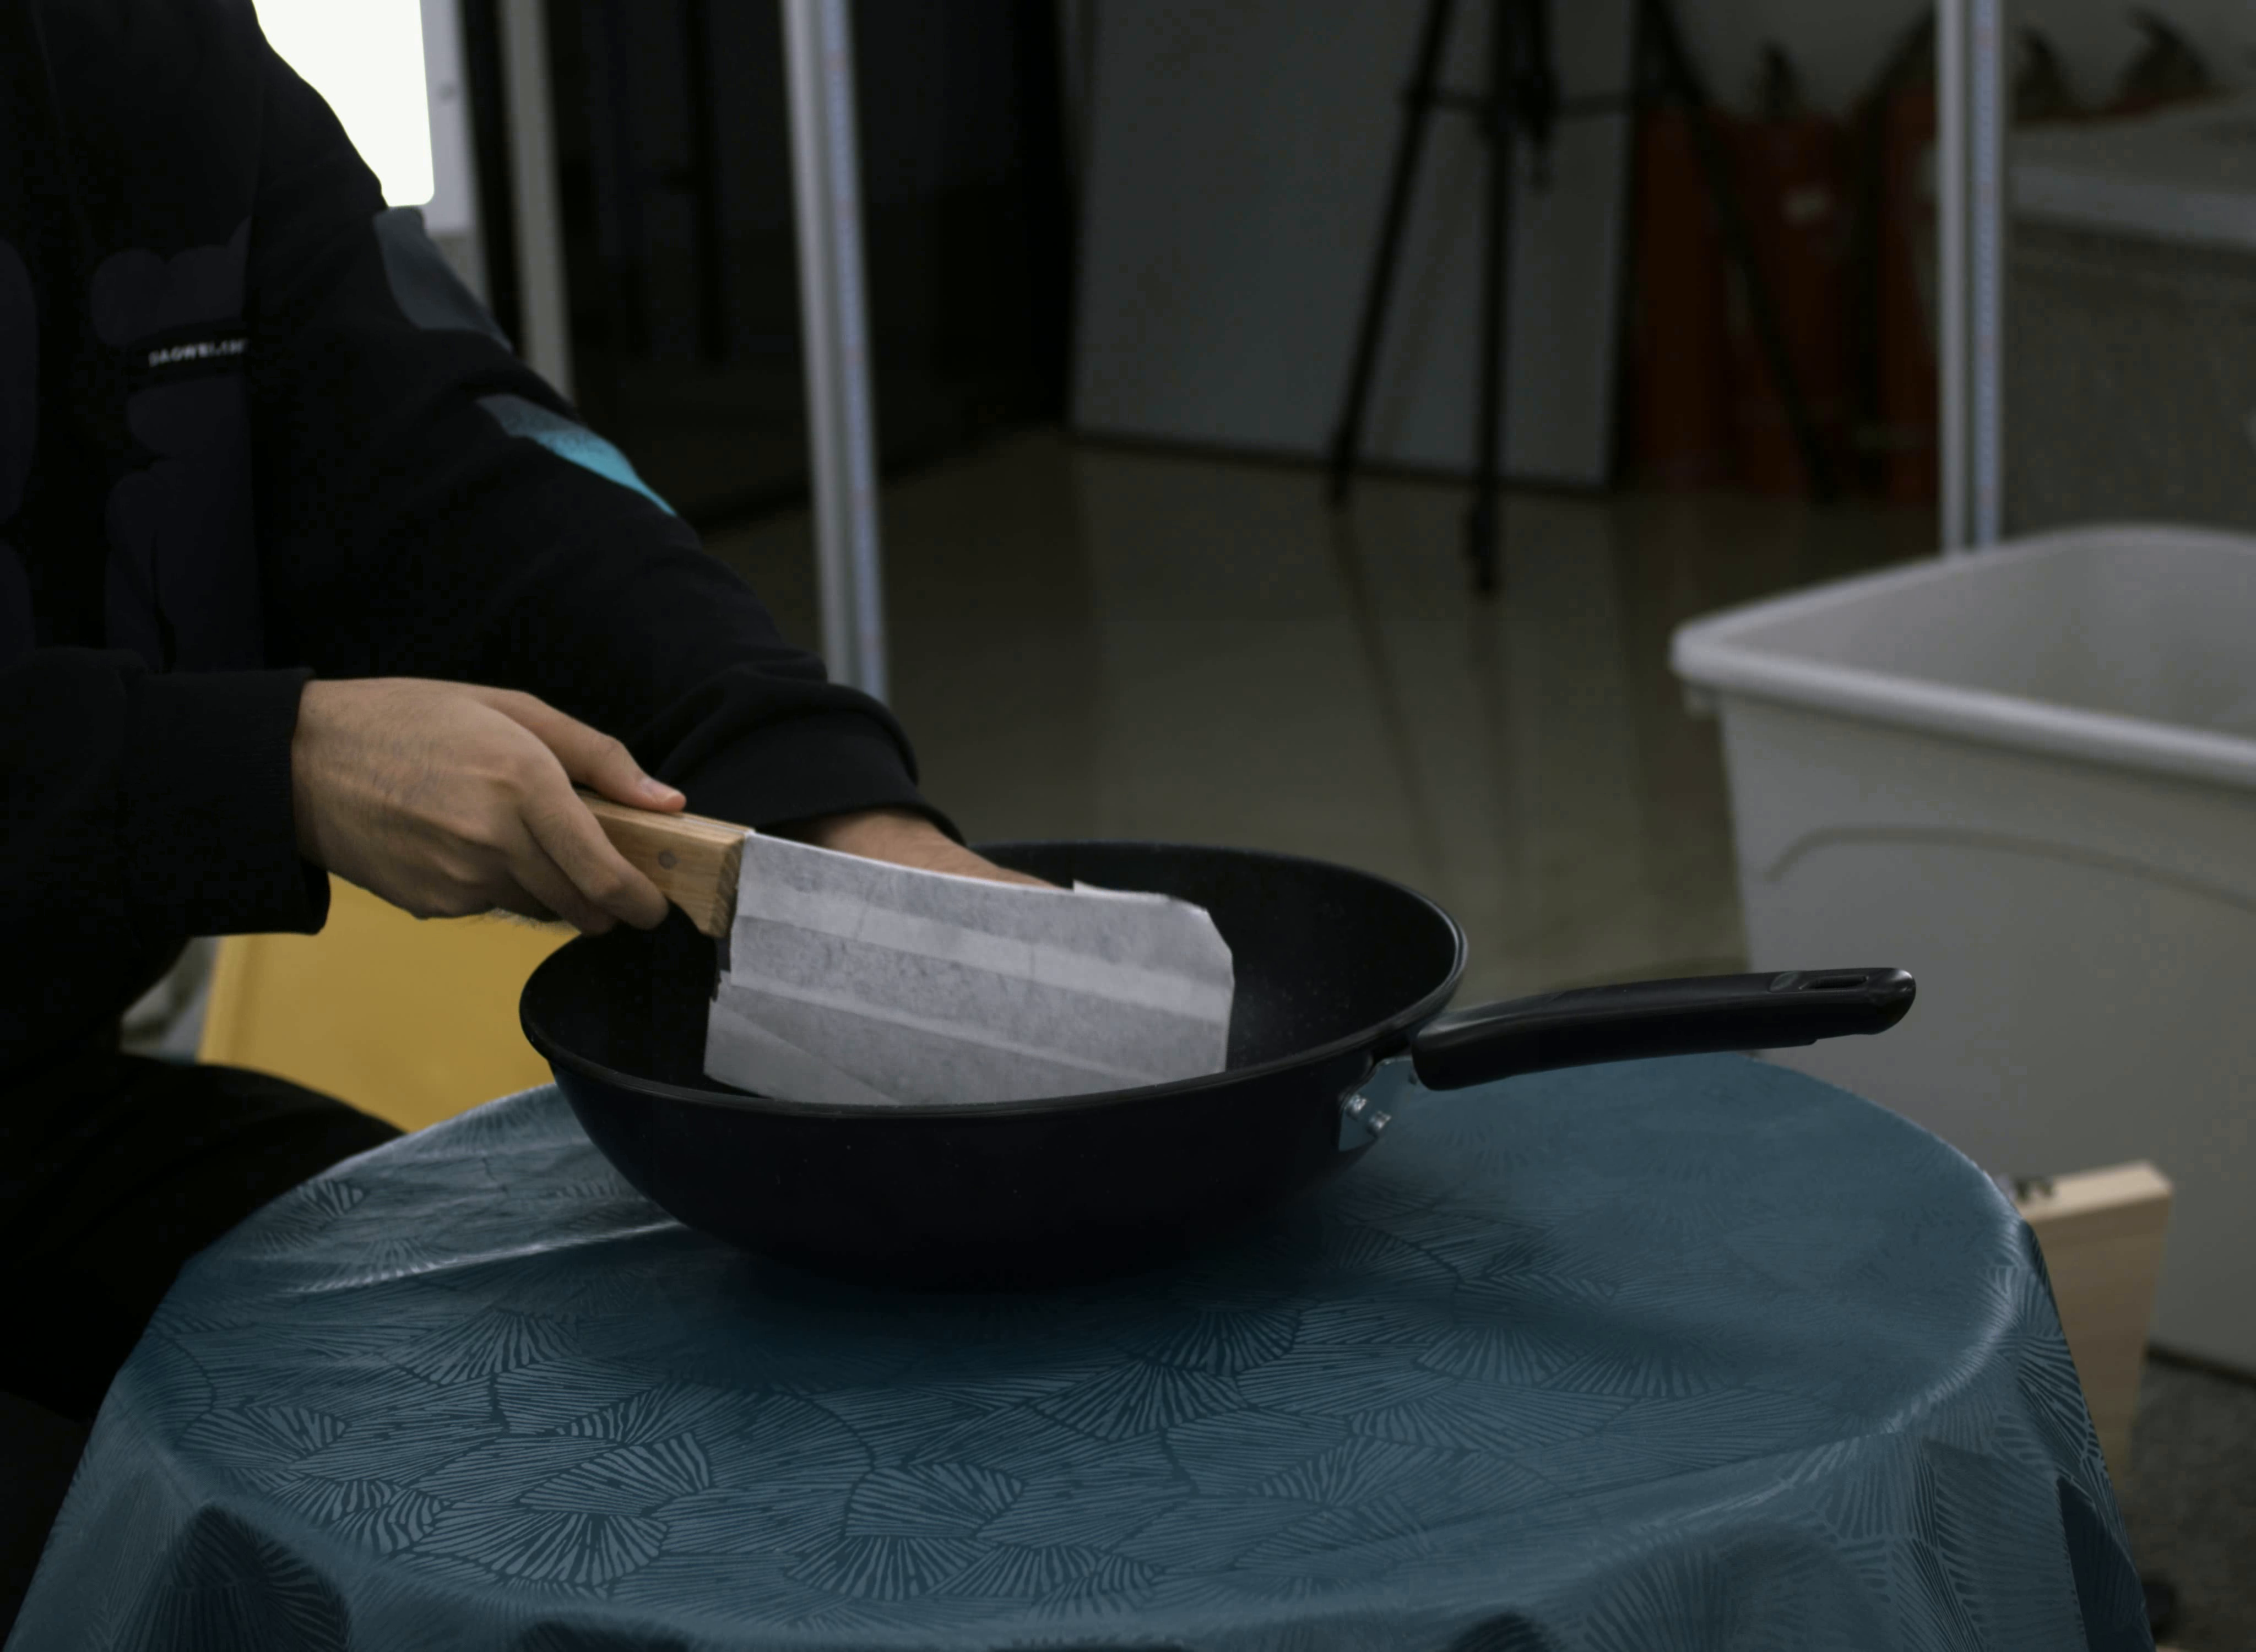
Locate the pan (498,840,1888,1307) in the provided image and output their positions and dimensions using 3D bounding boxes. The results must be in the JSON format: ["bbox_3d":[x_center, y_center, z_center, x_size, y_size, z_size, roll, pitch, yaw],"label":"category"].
[{"bbox_3d":[0.022,0.081,1.703,0.479,0.113,0.305,5,18,32],"label":"pan"}]

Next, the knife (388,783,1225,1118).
[{"bbox_3d":[-0.103,0.040,1.743,0.316,0.115,0.021,17,16,22],"label":"knife"}]
